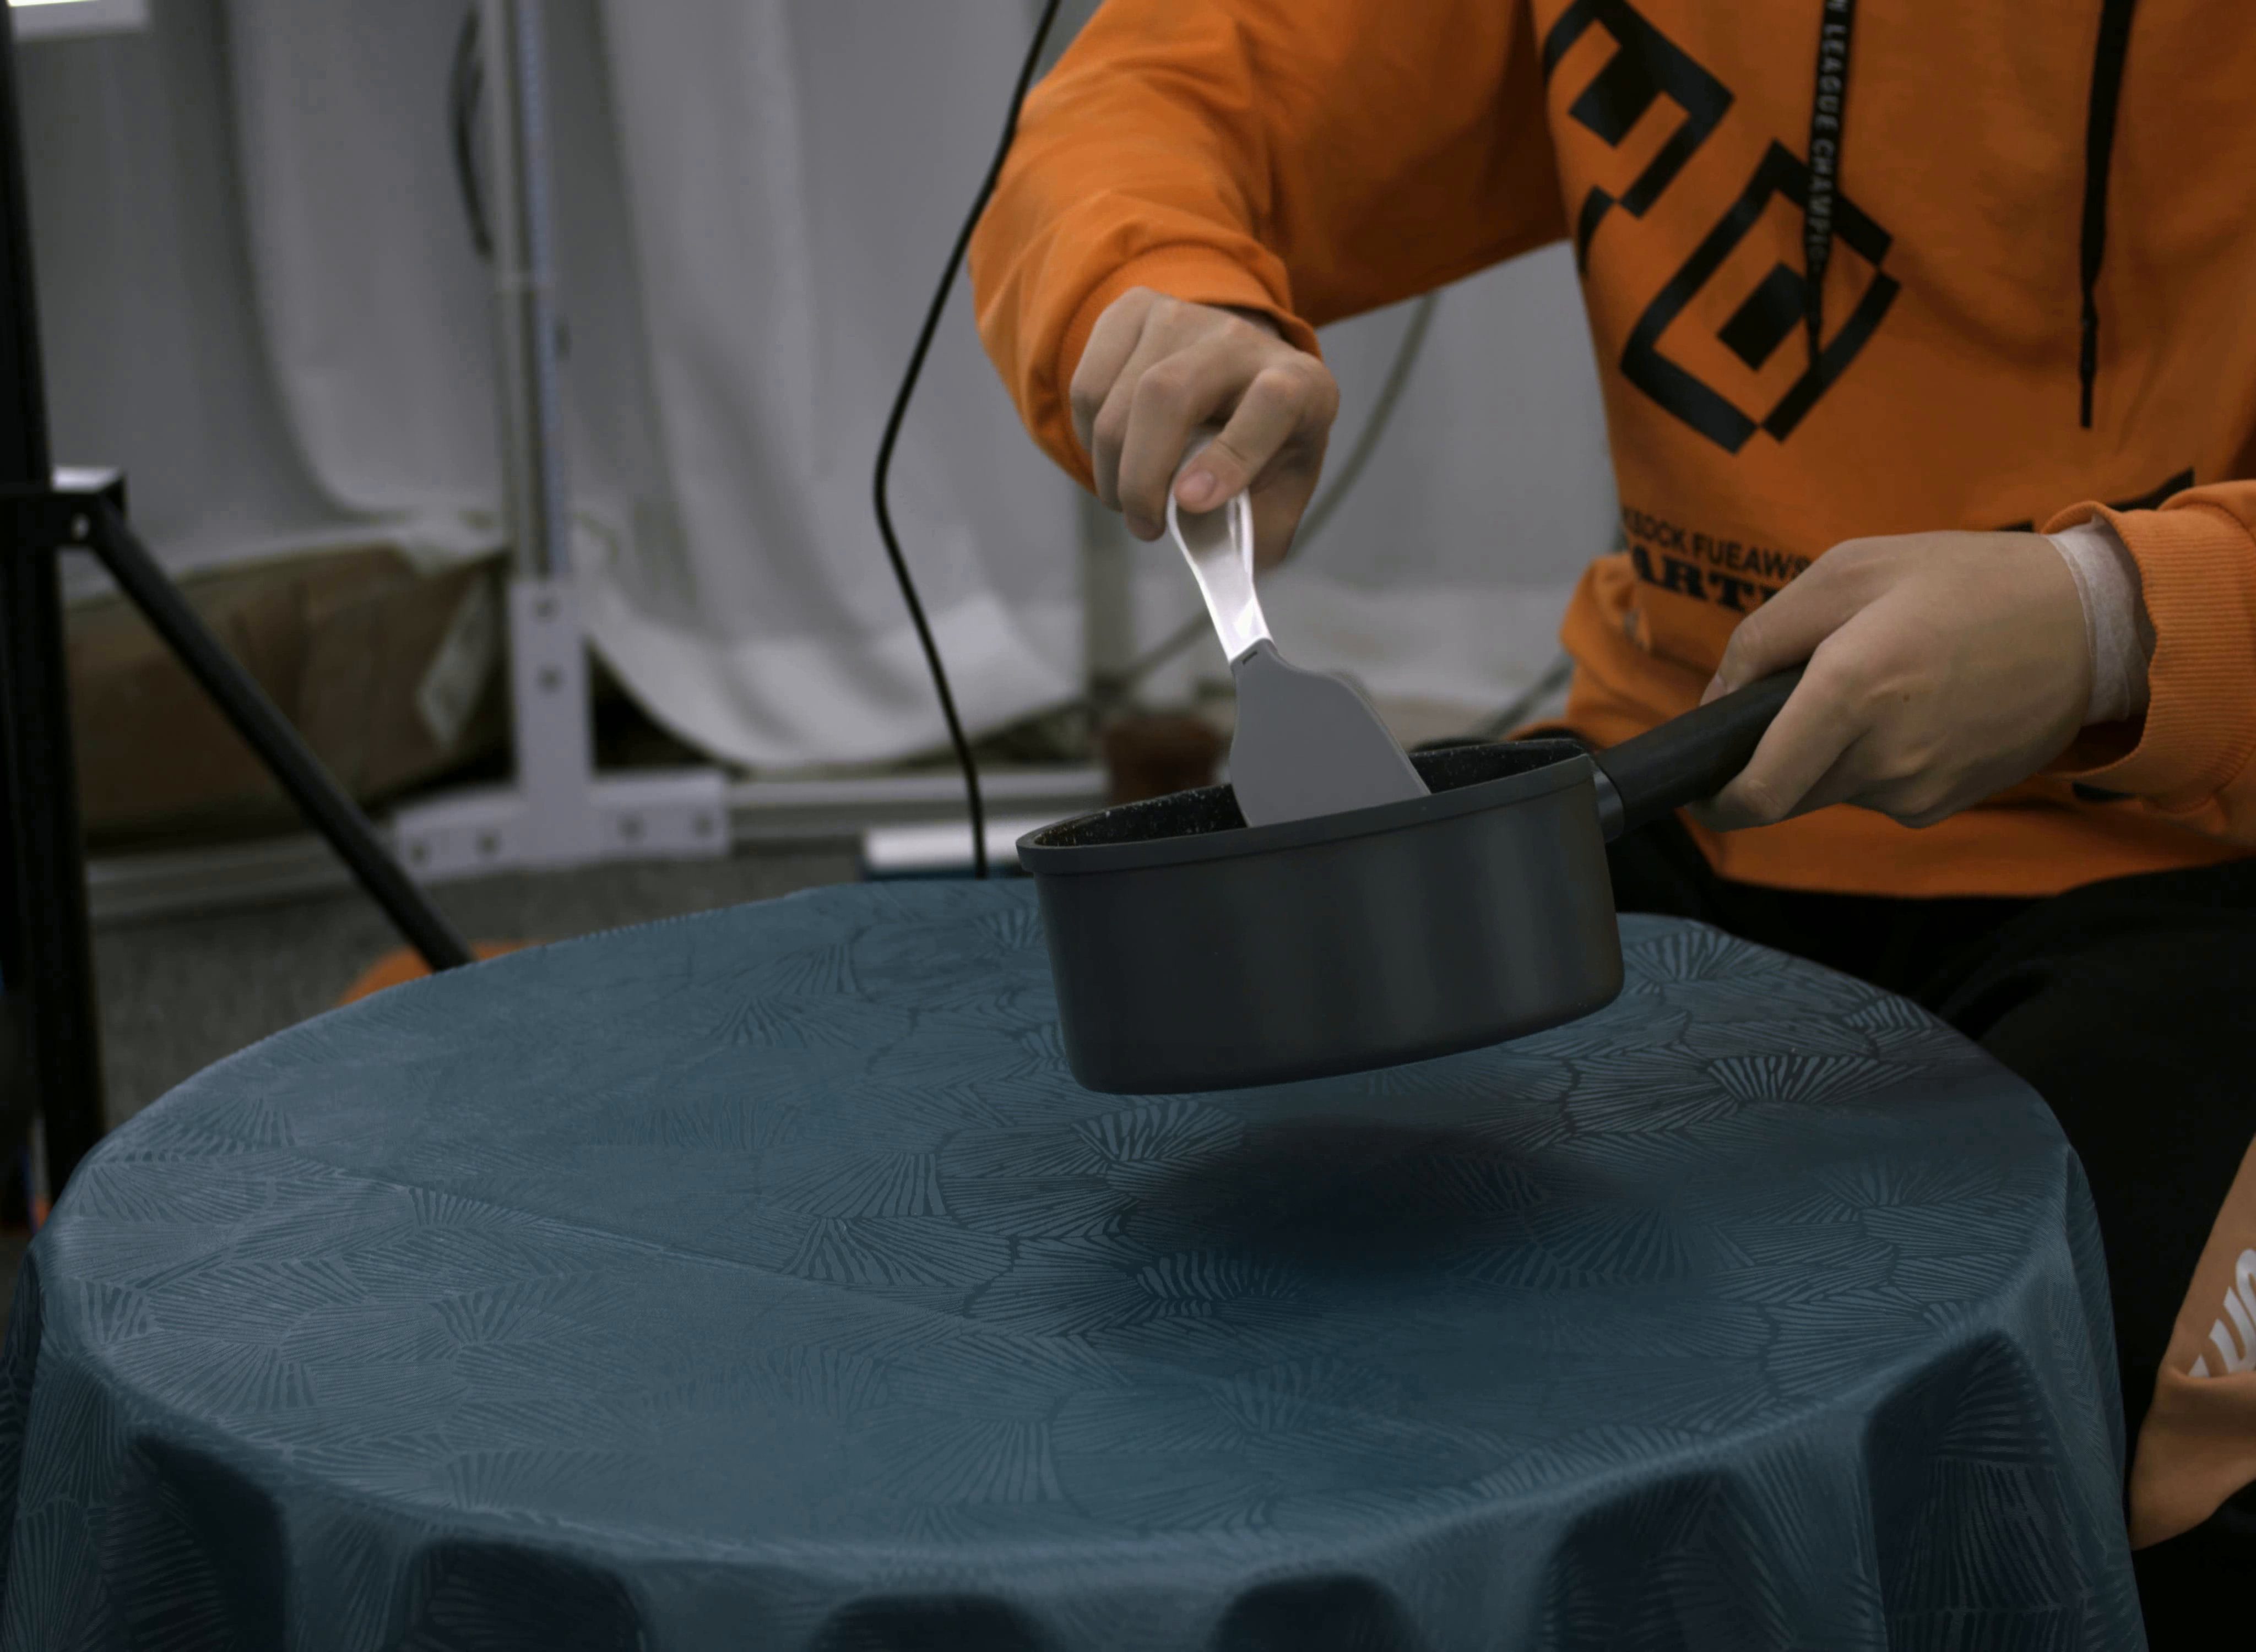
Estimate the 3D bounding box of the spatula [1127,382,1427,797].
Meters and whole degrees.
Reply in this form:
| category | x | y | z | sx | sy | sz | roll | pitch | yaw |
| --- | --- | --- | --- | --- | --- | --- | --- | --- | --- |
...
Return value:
| category | x | y | z | sx | sy | sz | roll | pitch | yaw |
| --- | --- | --- | --- | --- | --- | --- | --- | --- | --- |
| spatula | 0.040 | -0.061 | 1.624 | 0.059 | 0.031 | 0.292 | -35 | 30 | 9 |

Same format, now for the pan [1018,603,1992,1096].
| category | x | y | z | sx | sy | sz | roll | pitch | yaw |
| --- | --- | --- | --- | --- | --- | --- | --- | --- | --- |
| pan | 0.124 | 0.008 | 1.565 | 0.322 | 0.086 | 0.175 | -14 | 7 | -28 |
